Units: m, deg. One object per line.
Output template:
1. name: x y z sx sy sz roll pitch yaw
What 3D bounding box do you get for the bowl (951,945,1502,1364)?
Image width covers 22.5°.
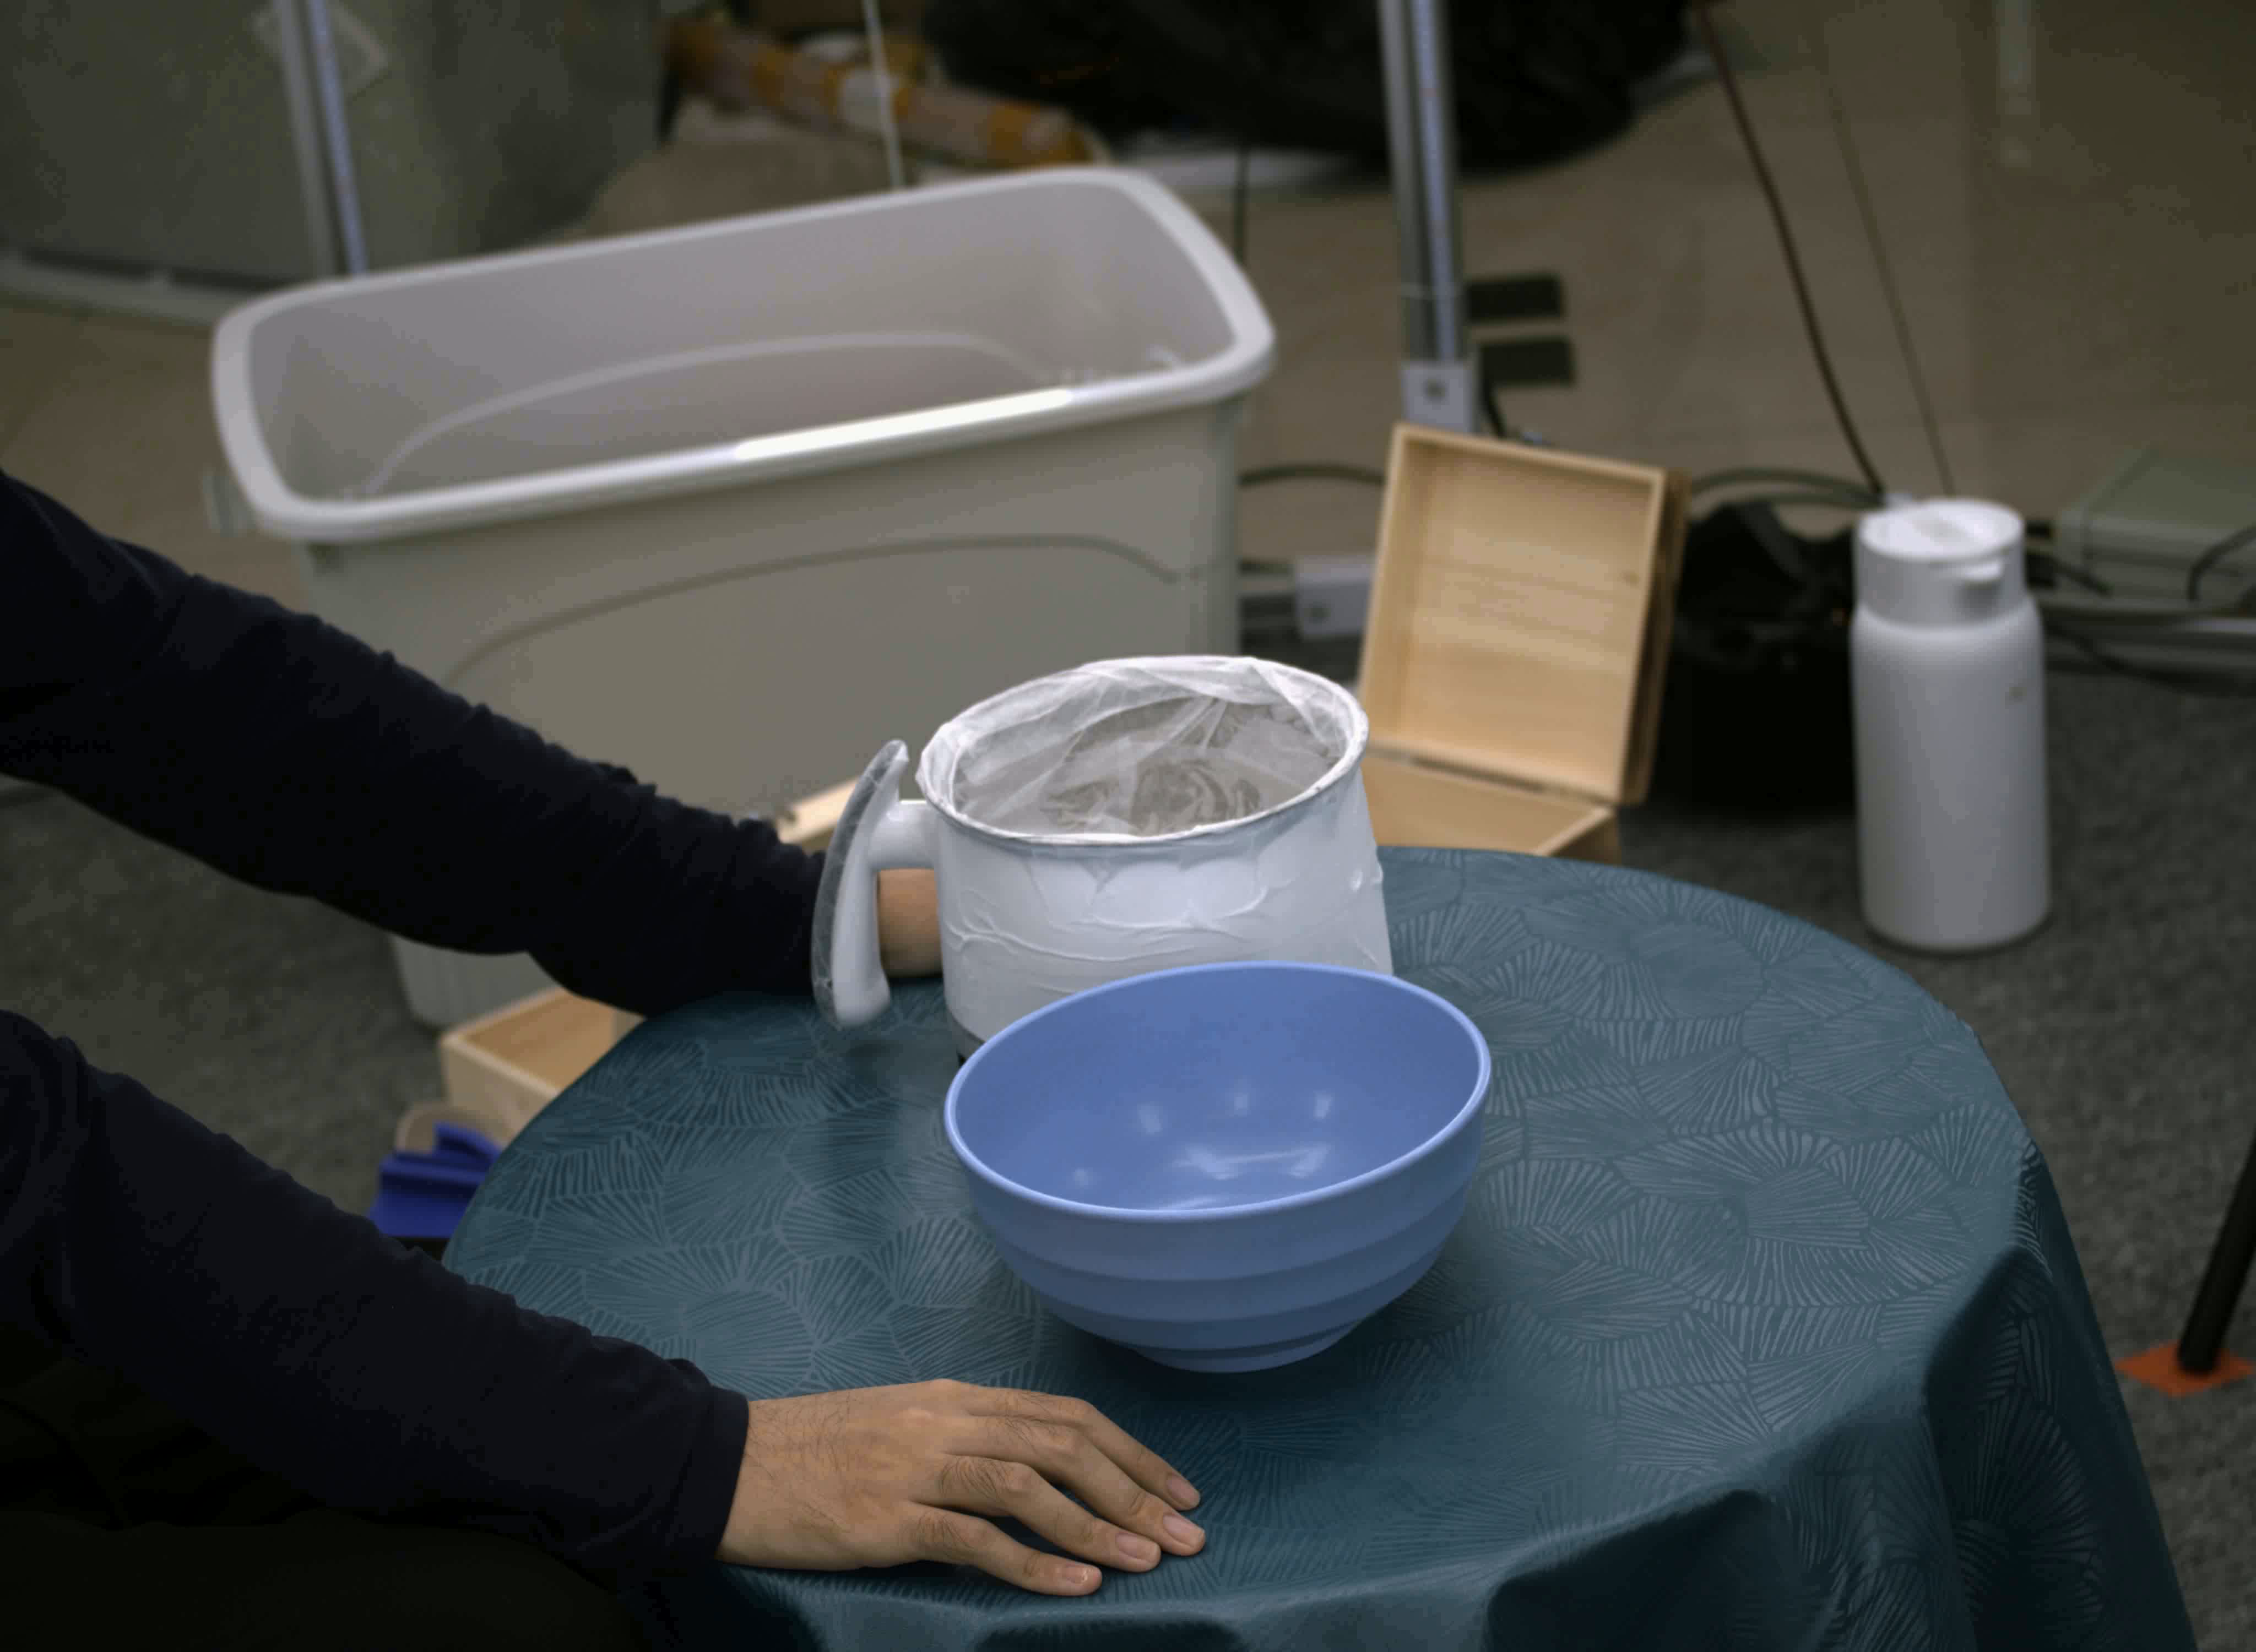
1. bowl: 0.037 0.130 2.040 0.196 0.097 0.193 -2 28 1

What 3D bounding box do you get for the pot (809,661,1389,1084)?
1. pot: -0.015 0.026 2.231 0.233 0.138 0.176 -1 23 9
